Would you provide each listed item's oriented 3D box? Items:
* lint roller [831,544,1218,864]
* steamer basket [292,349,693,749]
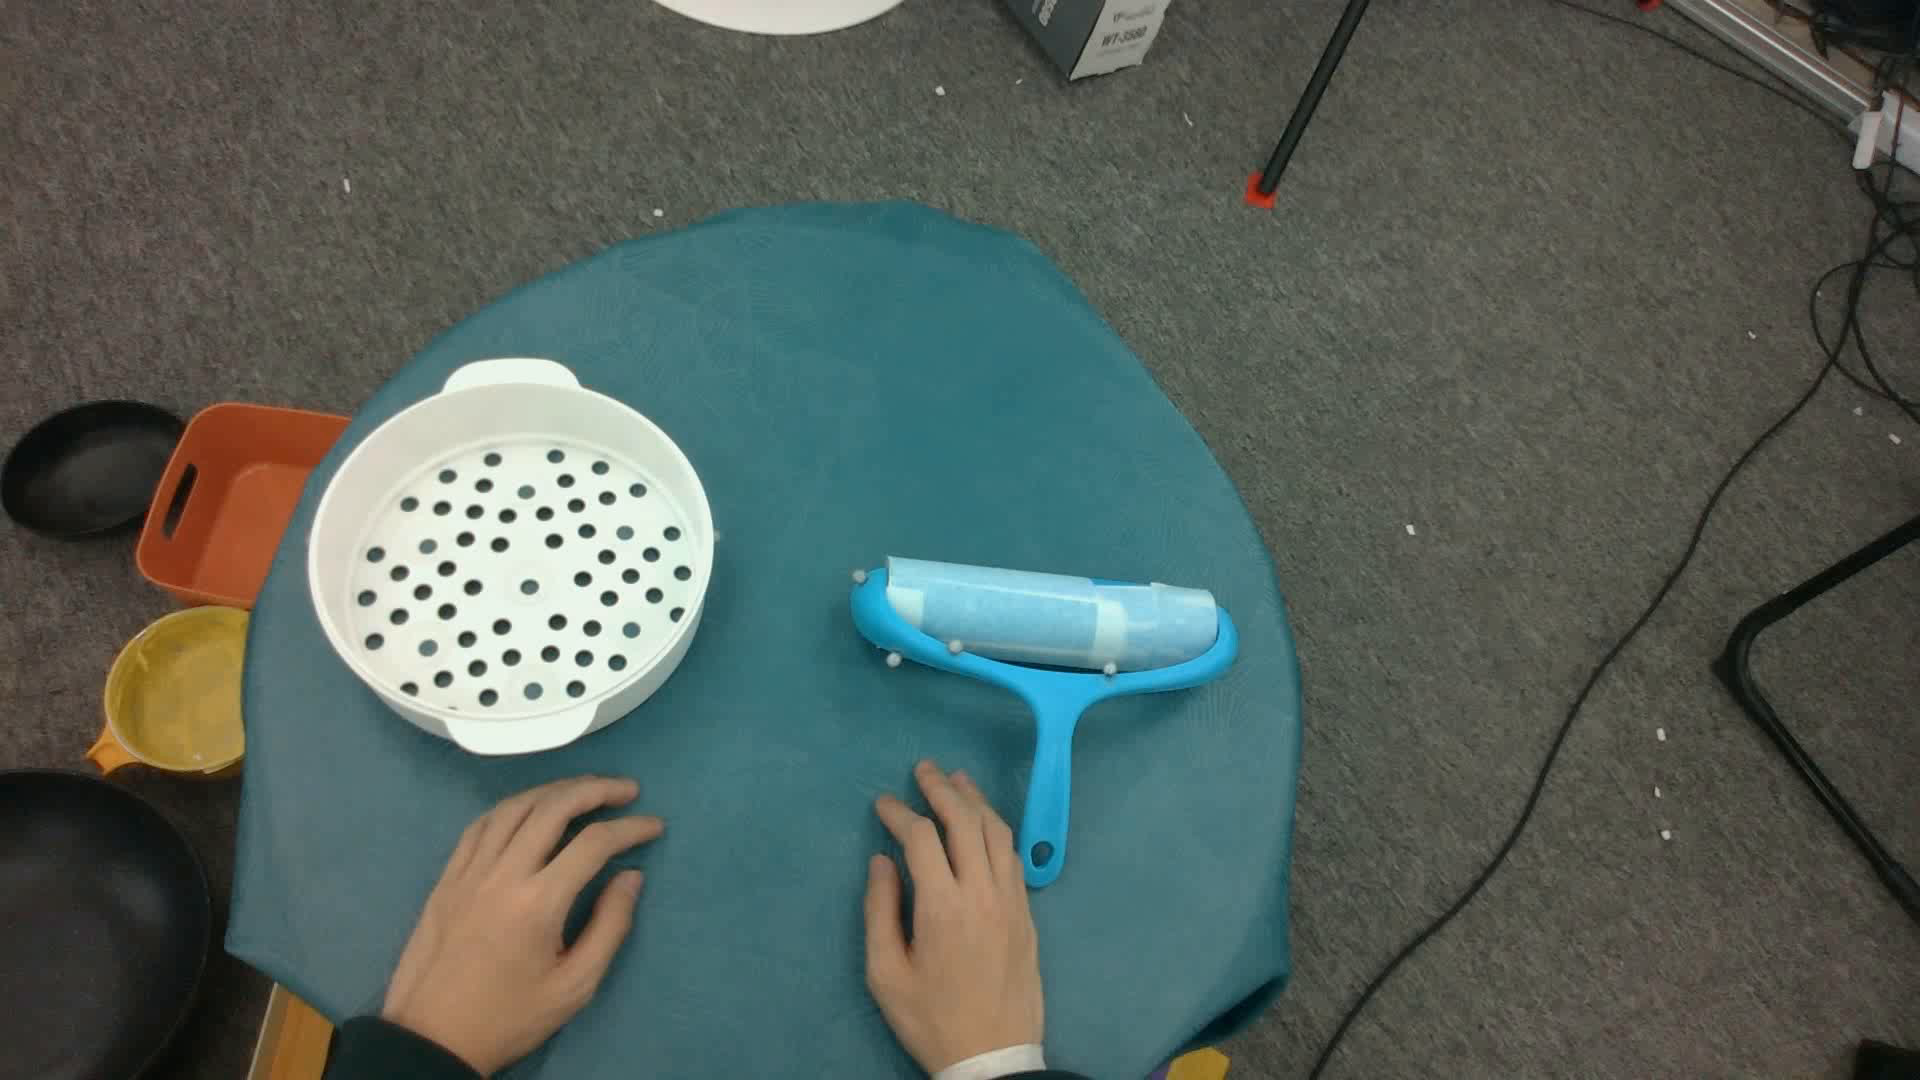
[{"bbox_3d":[0.044,0.086,0.777,0.229,0.067,0.181,2,63,-13],"label":"lint roller"},{"bbox_3d":[-0.248,0.009,0.750,0.202,0.069,0.231,-6,66,-13],"label":"steamer basket"}]
